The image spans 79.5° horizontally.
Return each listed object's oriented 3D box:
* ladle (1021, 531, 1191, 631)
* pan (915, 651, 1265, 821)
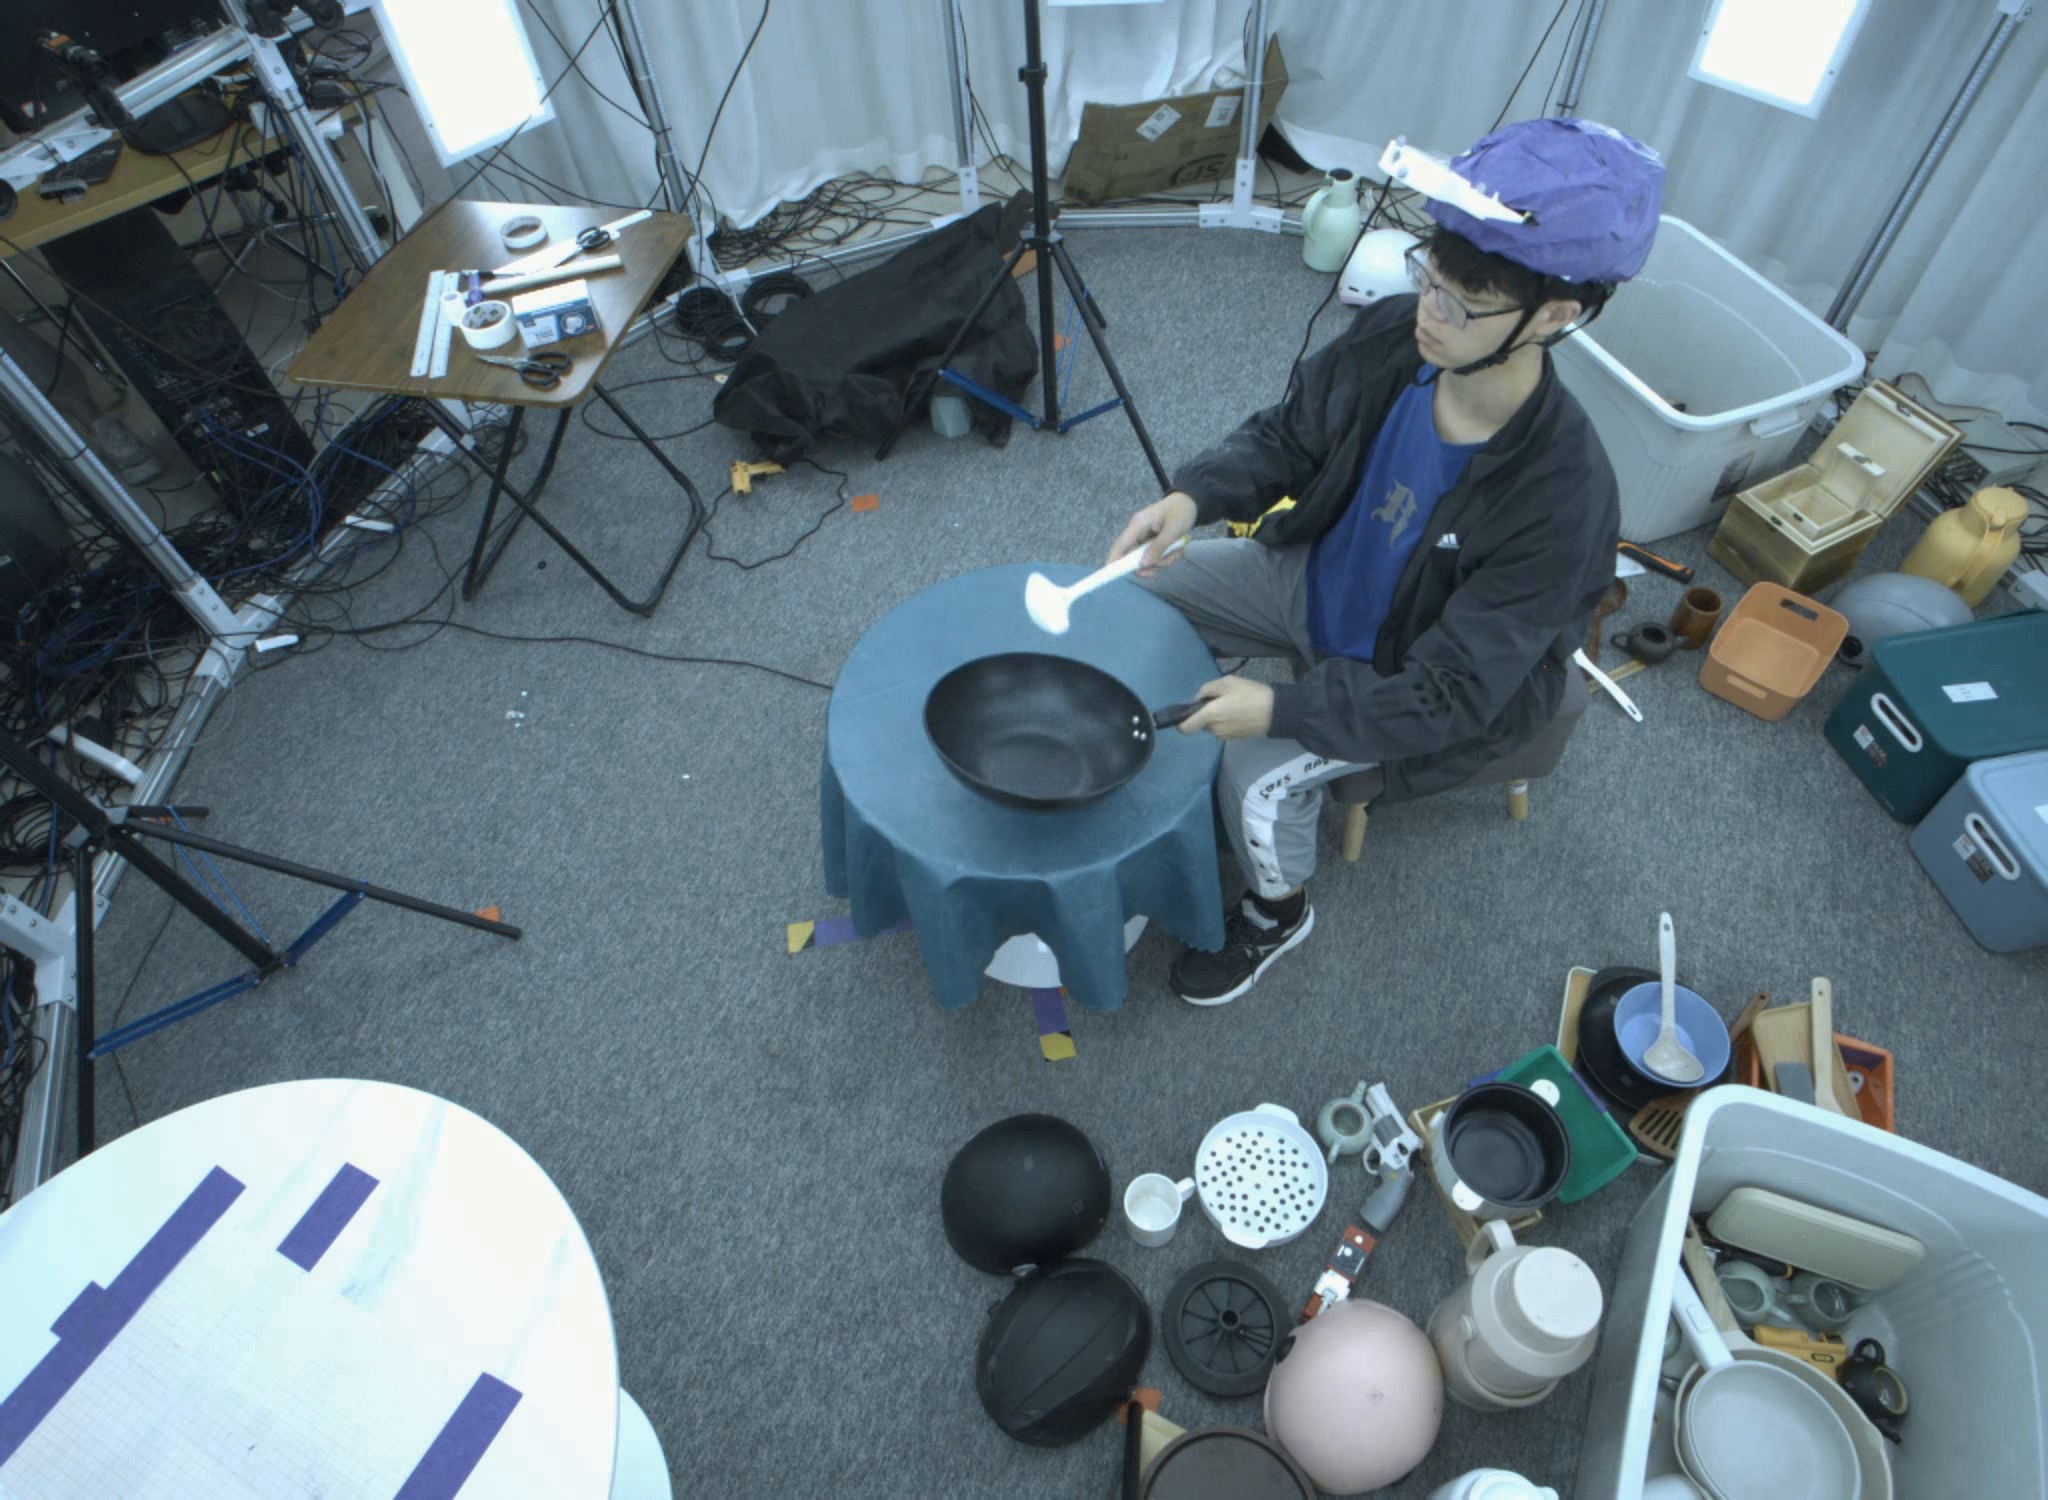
[{"bbox_3d":[0.118,-0.241,1.671,0.296,0.069,0.089,-29,80,-26],"label":"ladle"},{"bbox_3d":[0.091,-0.020,1.658,0.482,0.112,0.305,-4,44,-14],"label":"pan"}]
